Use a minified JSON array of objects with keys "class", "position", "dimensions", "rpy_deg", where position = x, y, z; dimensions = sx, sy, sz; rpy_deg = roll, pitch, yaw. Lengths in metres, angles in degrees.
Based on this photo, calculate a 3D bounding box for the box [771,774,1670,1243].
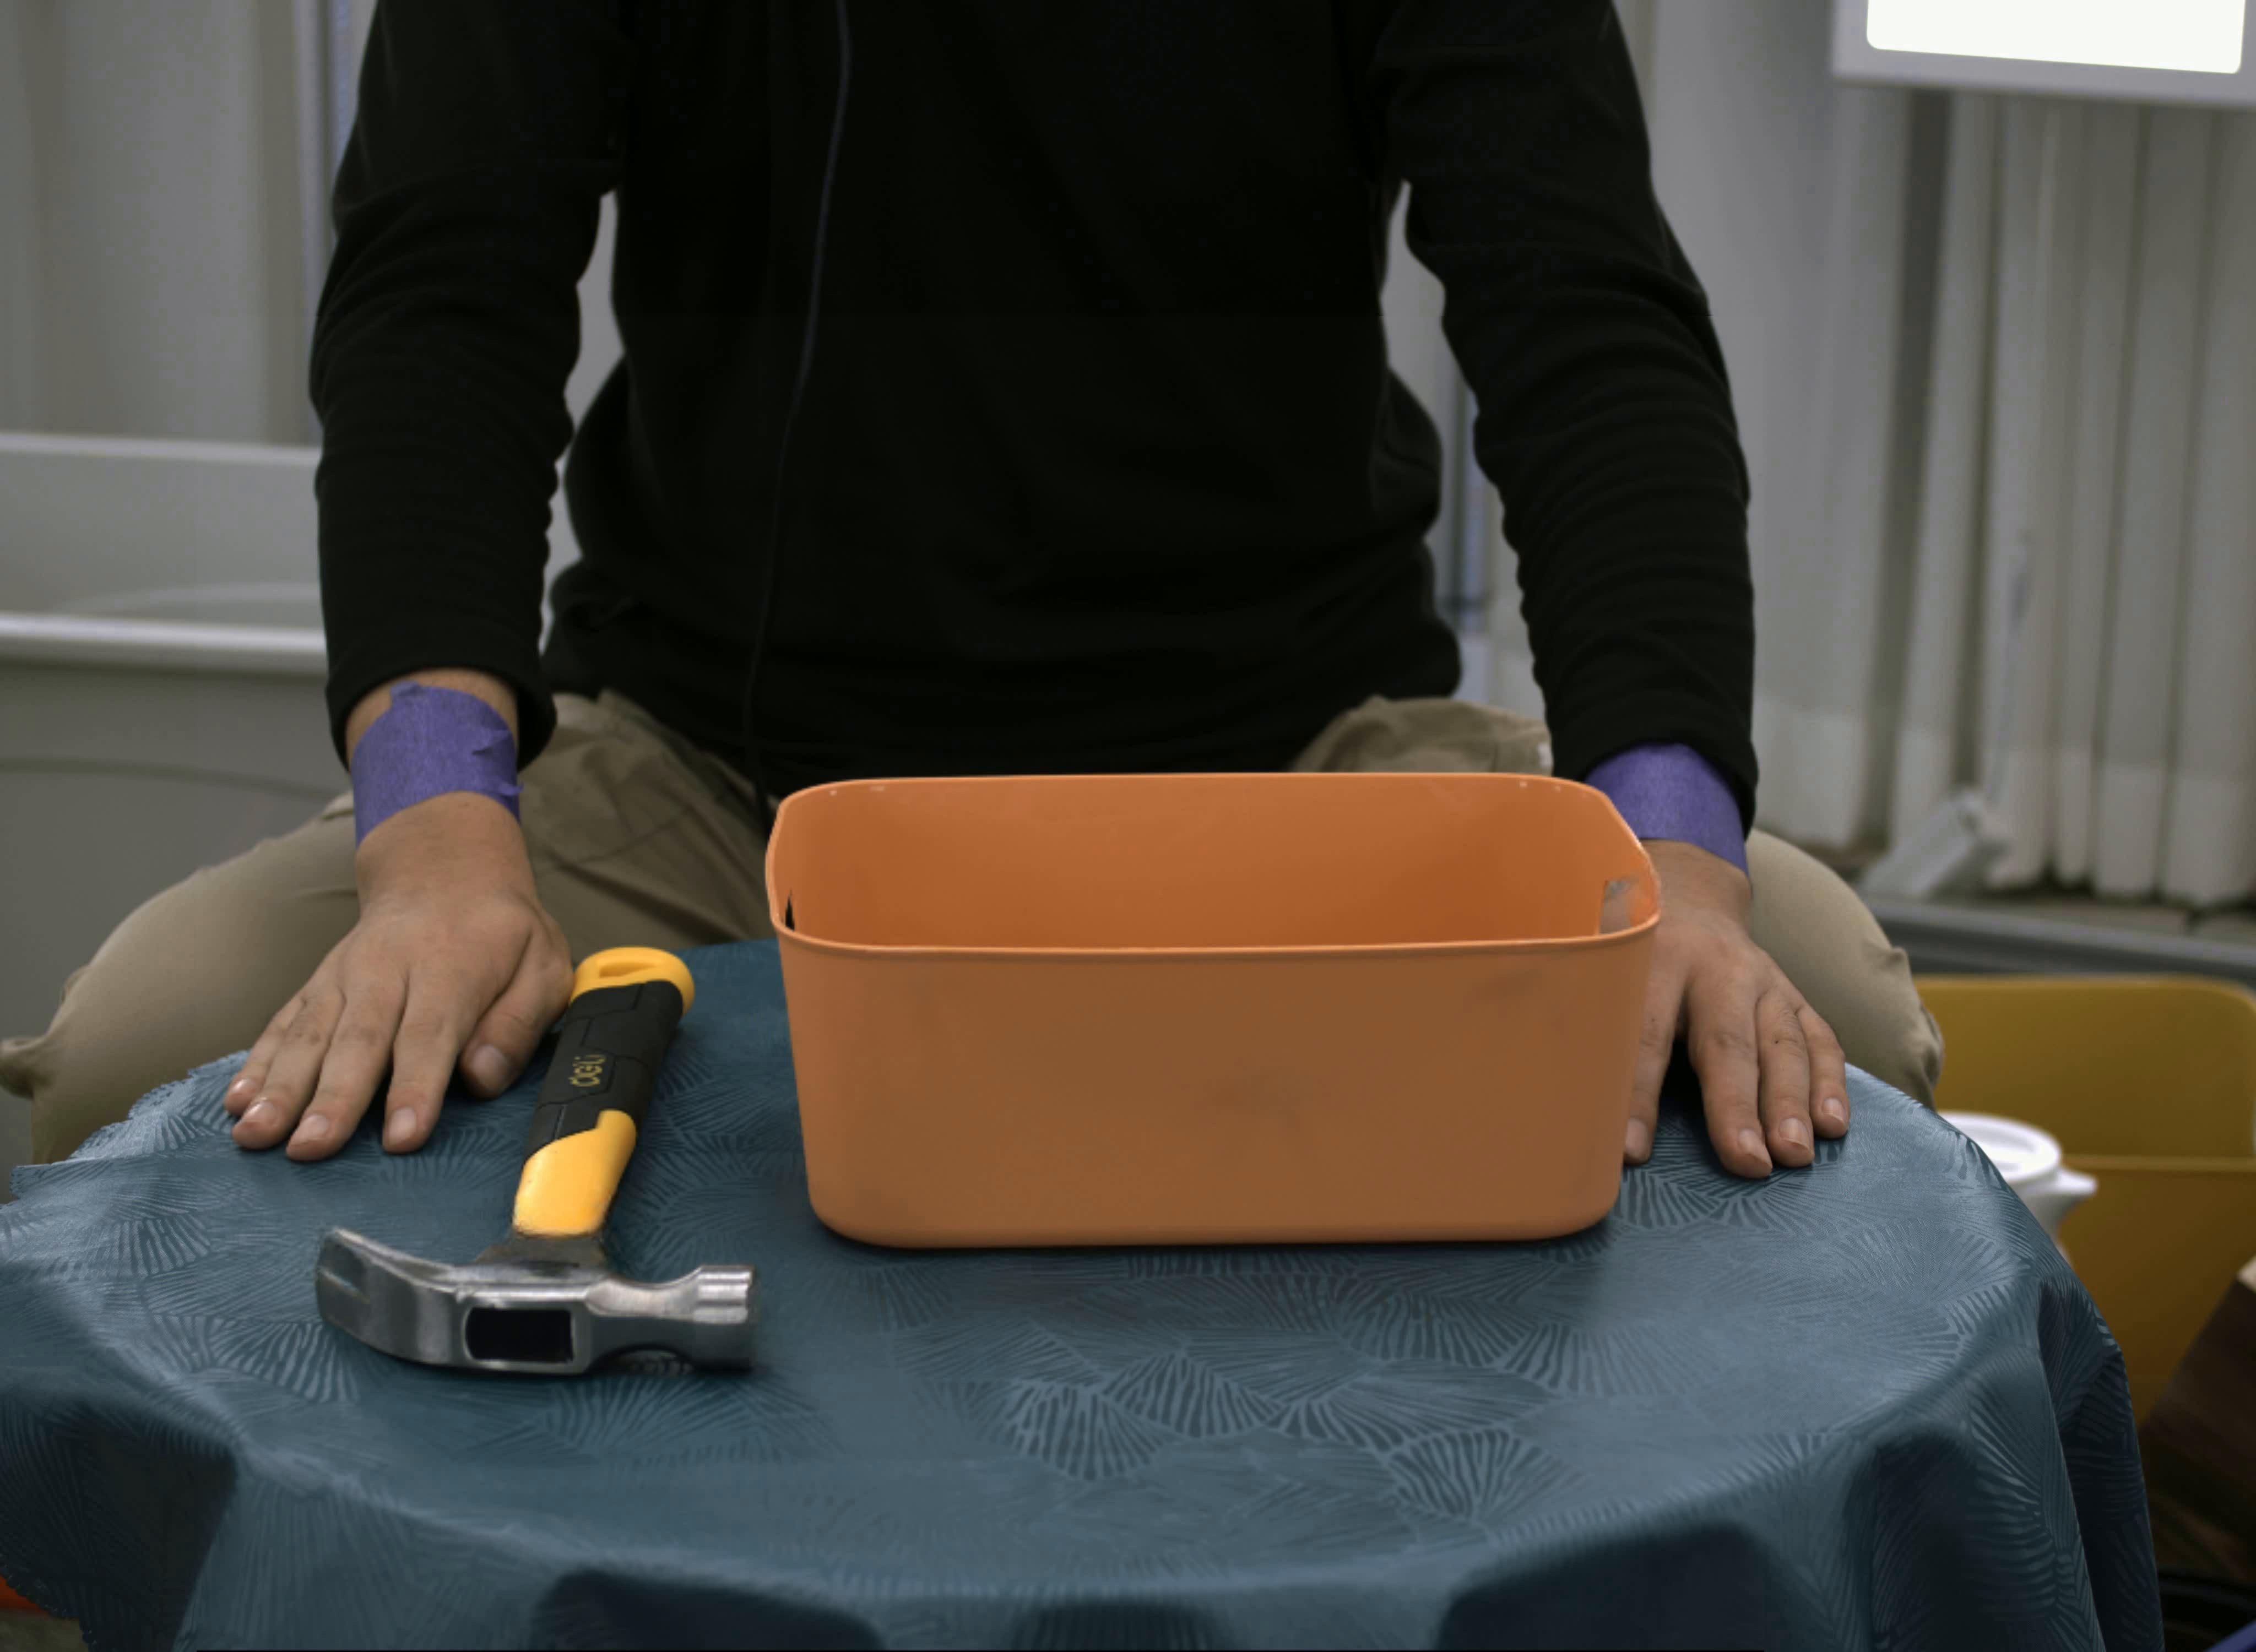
[{"class":"box","position":[0.025,0.056,1.634],"dimensions":[0.272,0.103,0.198],"rpy_deg":[0,15,-4]}]

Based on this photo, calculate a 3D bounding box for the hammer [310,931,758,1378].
[{"class":"hammer","position":[-0.167,0.093,1.618],"dimensions":[0.131,0.032,0.336],"rpy_deg":[1,17,1]}]
